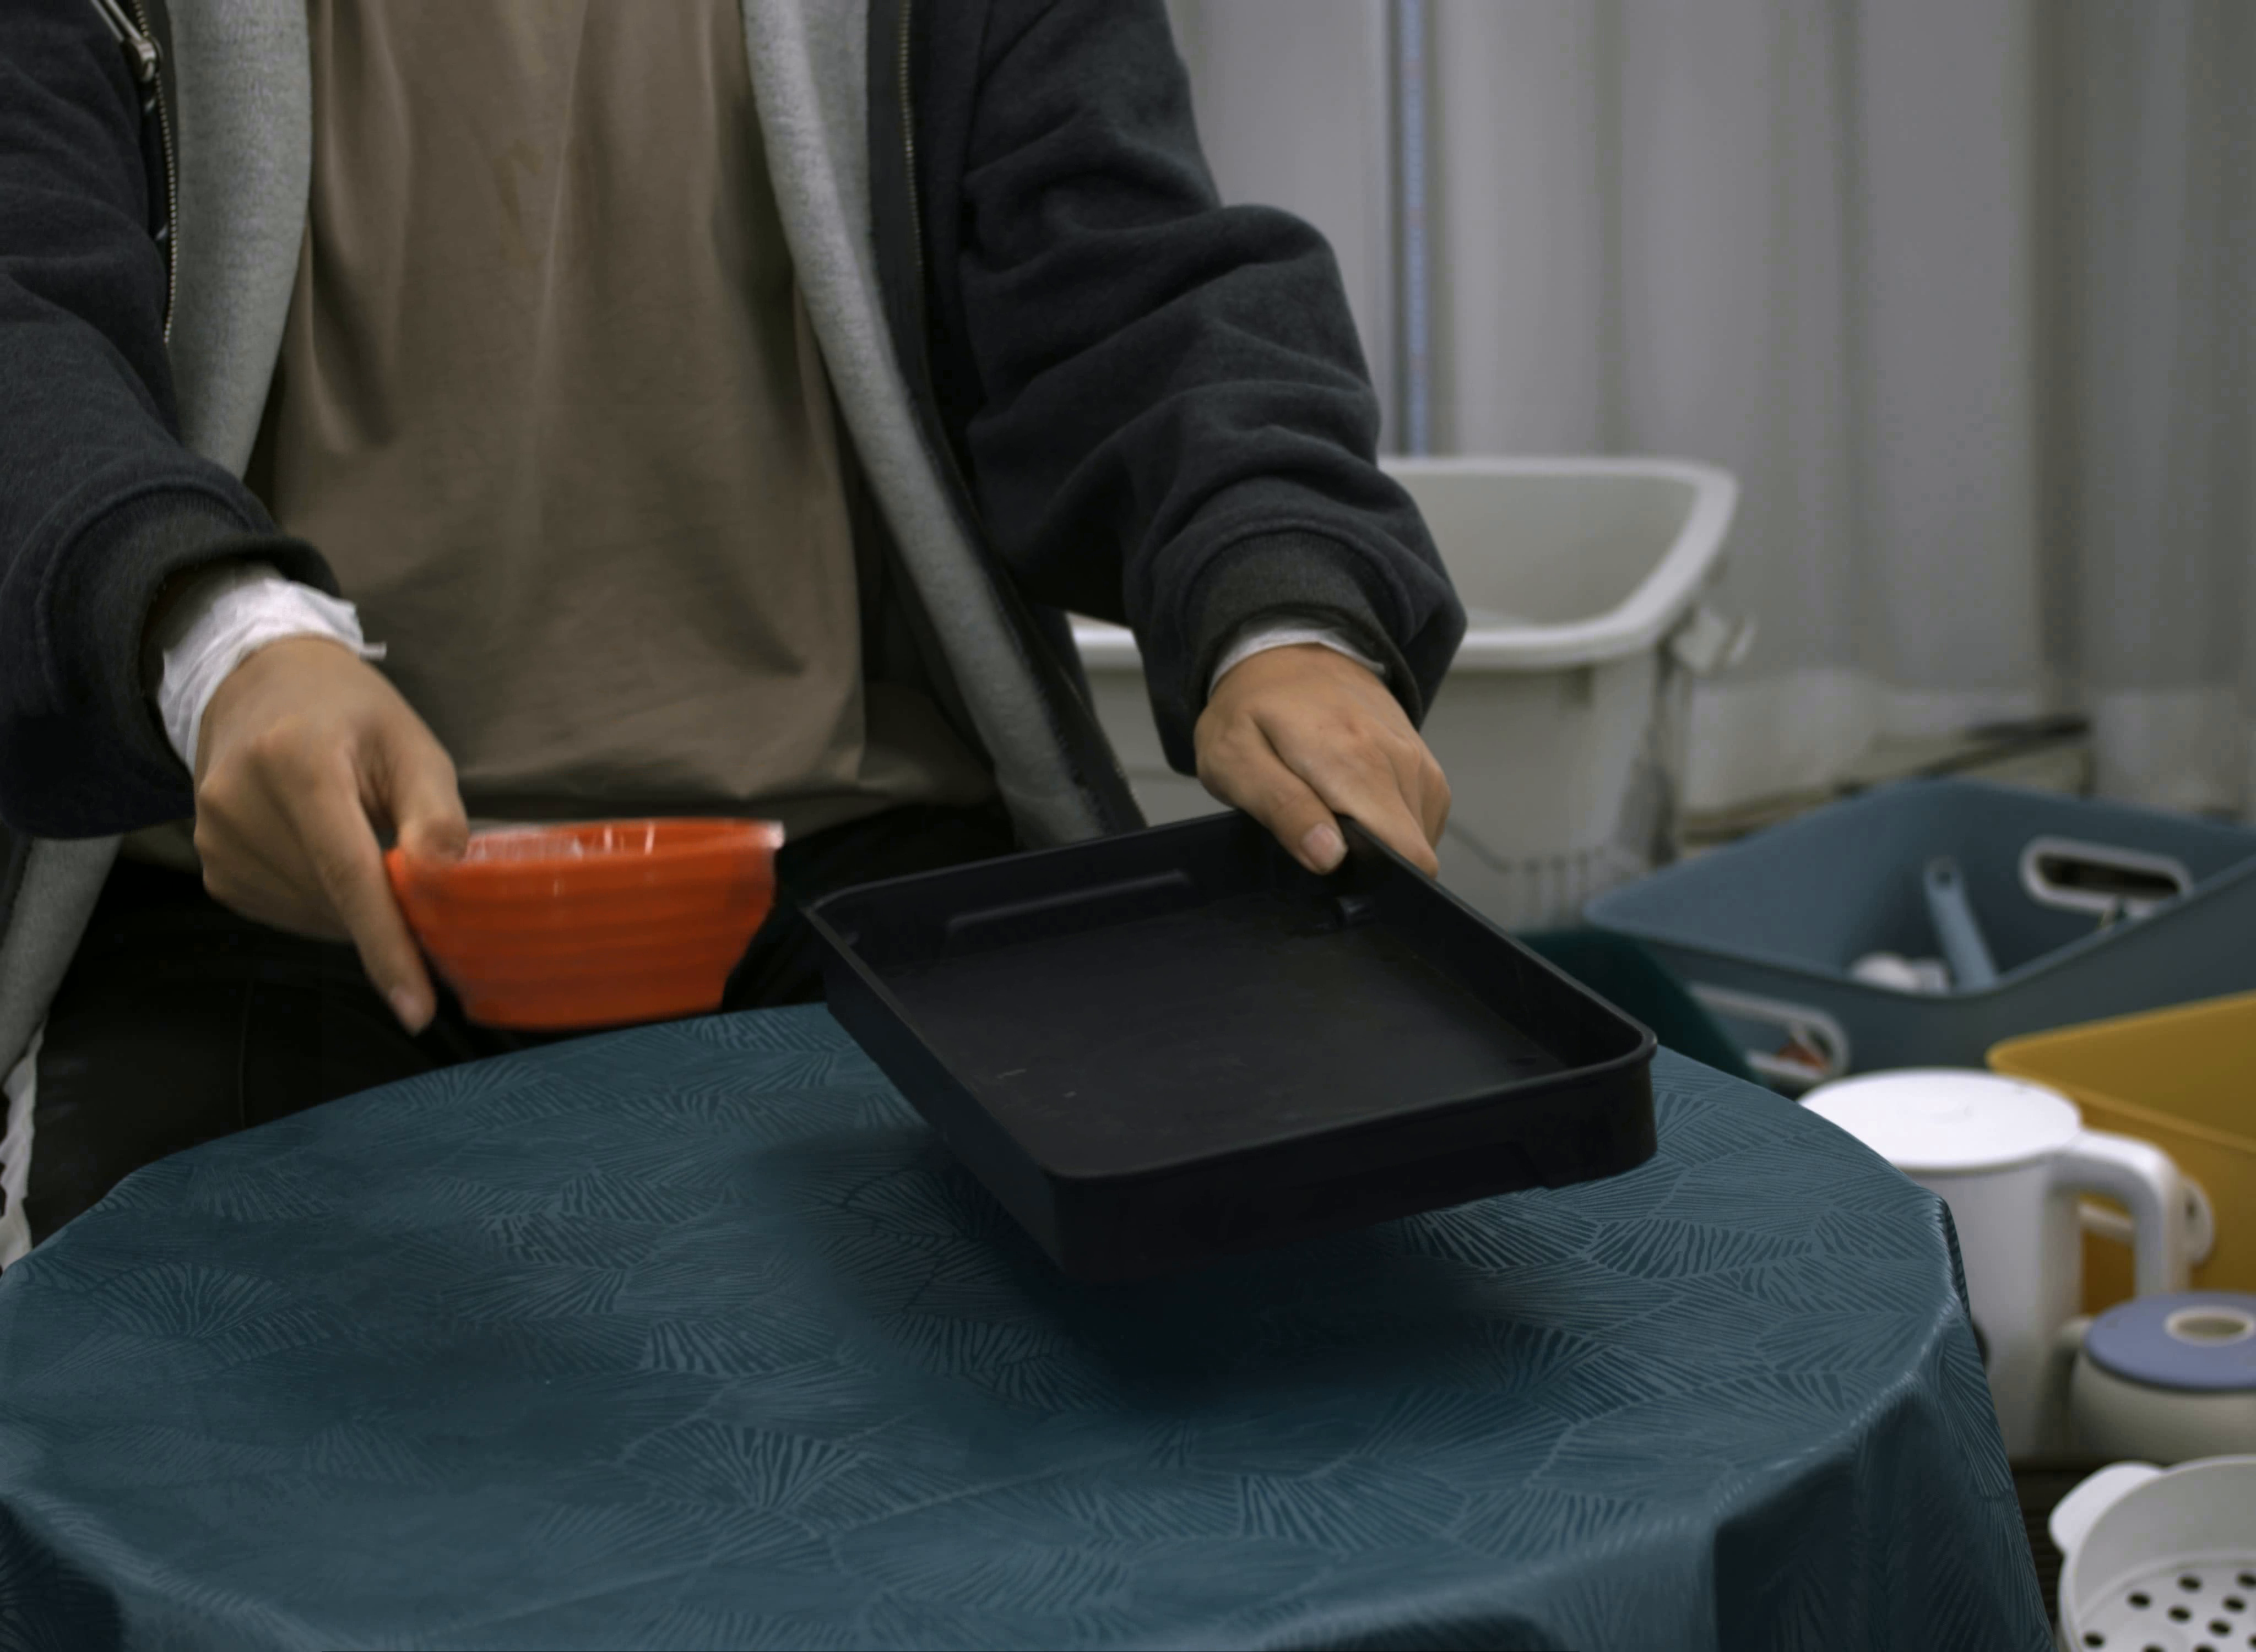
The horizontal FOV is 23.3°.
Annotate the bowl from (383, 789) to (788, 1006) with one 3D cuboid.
[{"bbox_3d":[-0.155,0.021,1.580,0.118,0.051,0.119,-4,7,0],"label":"bowl"}]

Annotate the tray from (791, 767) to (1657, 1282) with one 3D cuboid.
[{"bbox_3d":[0.022,0.054,1.659,0.183,0.037,0.321,-10,19,-15],"label":"tray"}]
